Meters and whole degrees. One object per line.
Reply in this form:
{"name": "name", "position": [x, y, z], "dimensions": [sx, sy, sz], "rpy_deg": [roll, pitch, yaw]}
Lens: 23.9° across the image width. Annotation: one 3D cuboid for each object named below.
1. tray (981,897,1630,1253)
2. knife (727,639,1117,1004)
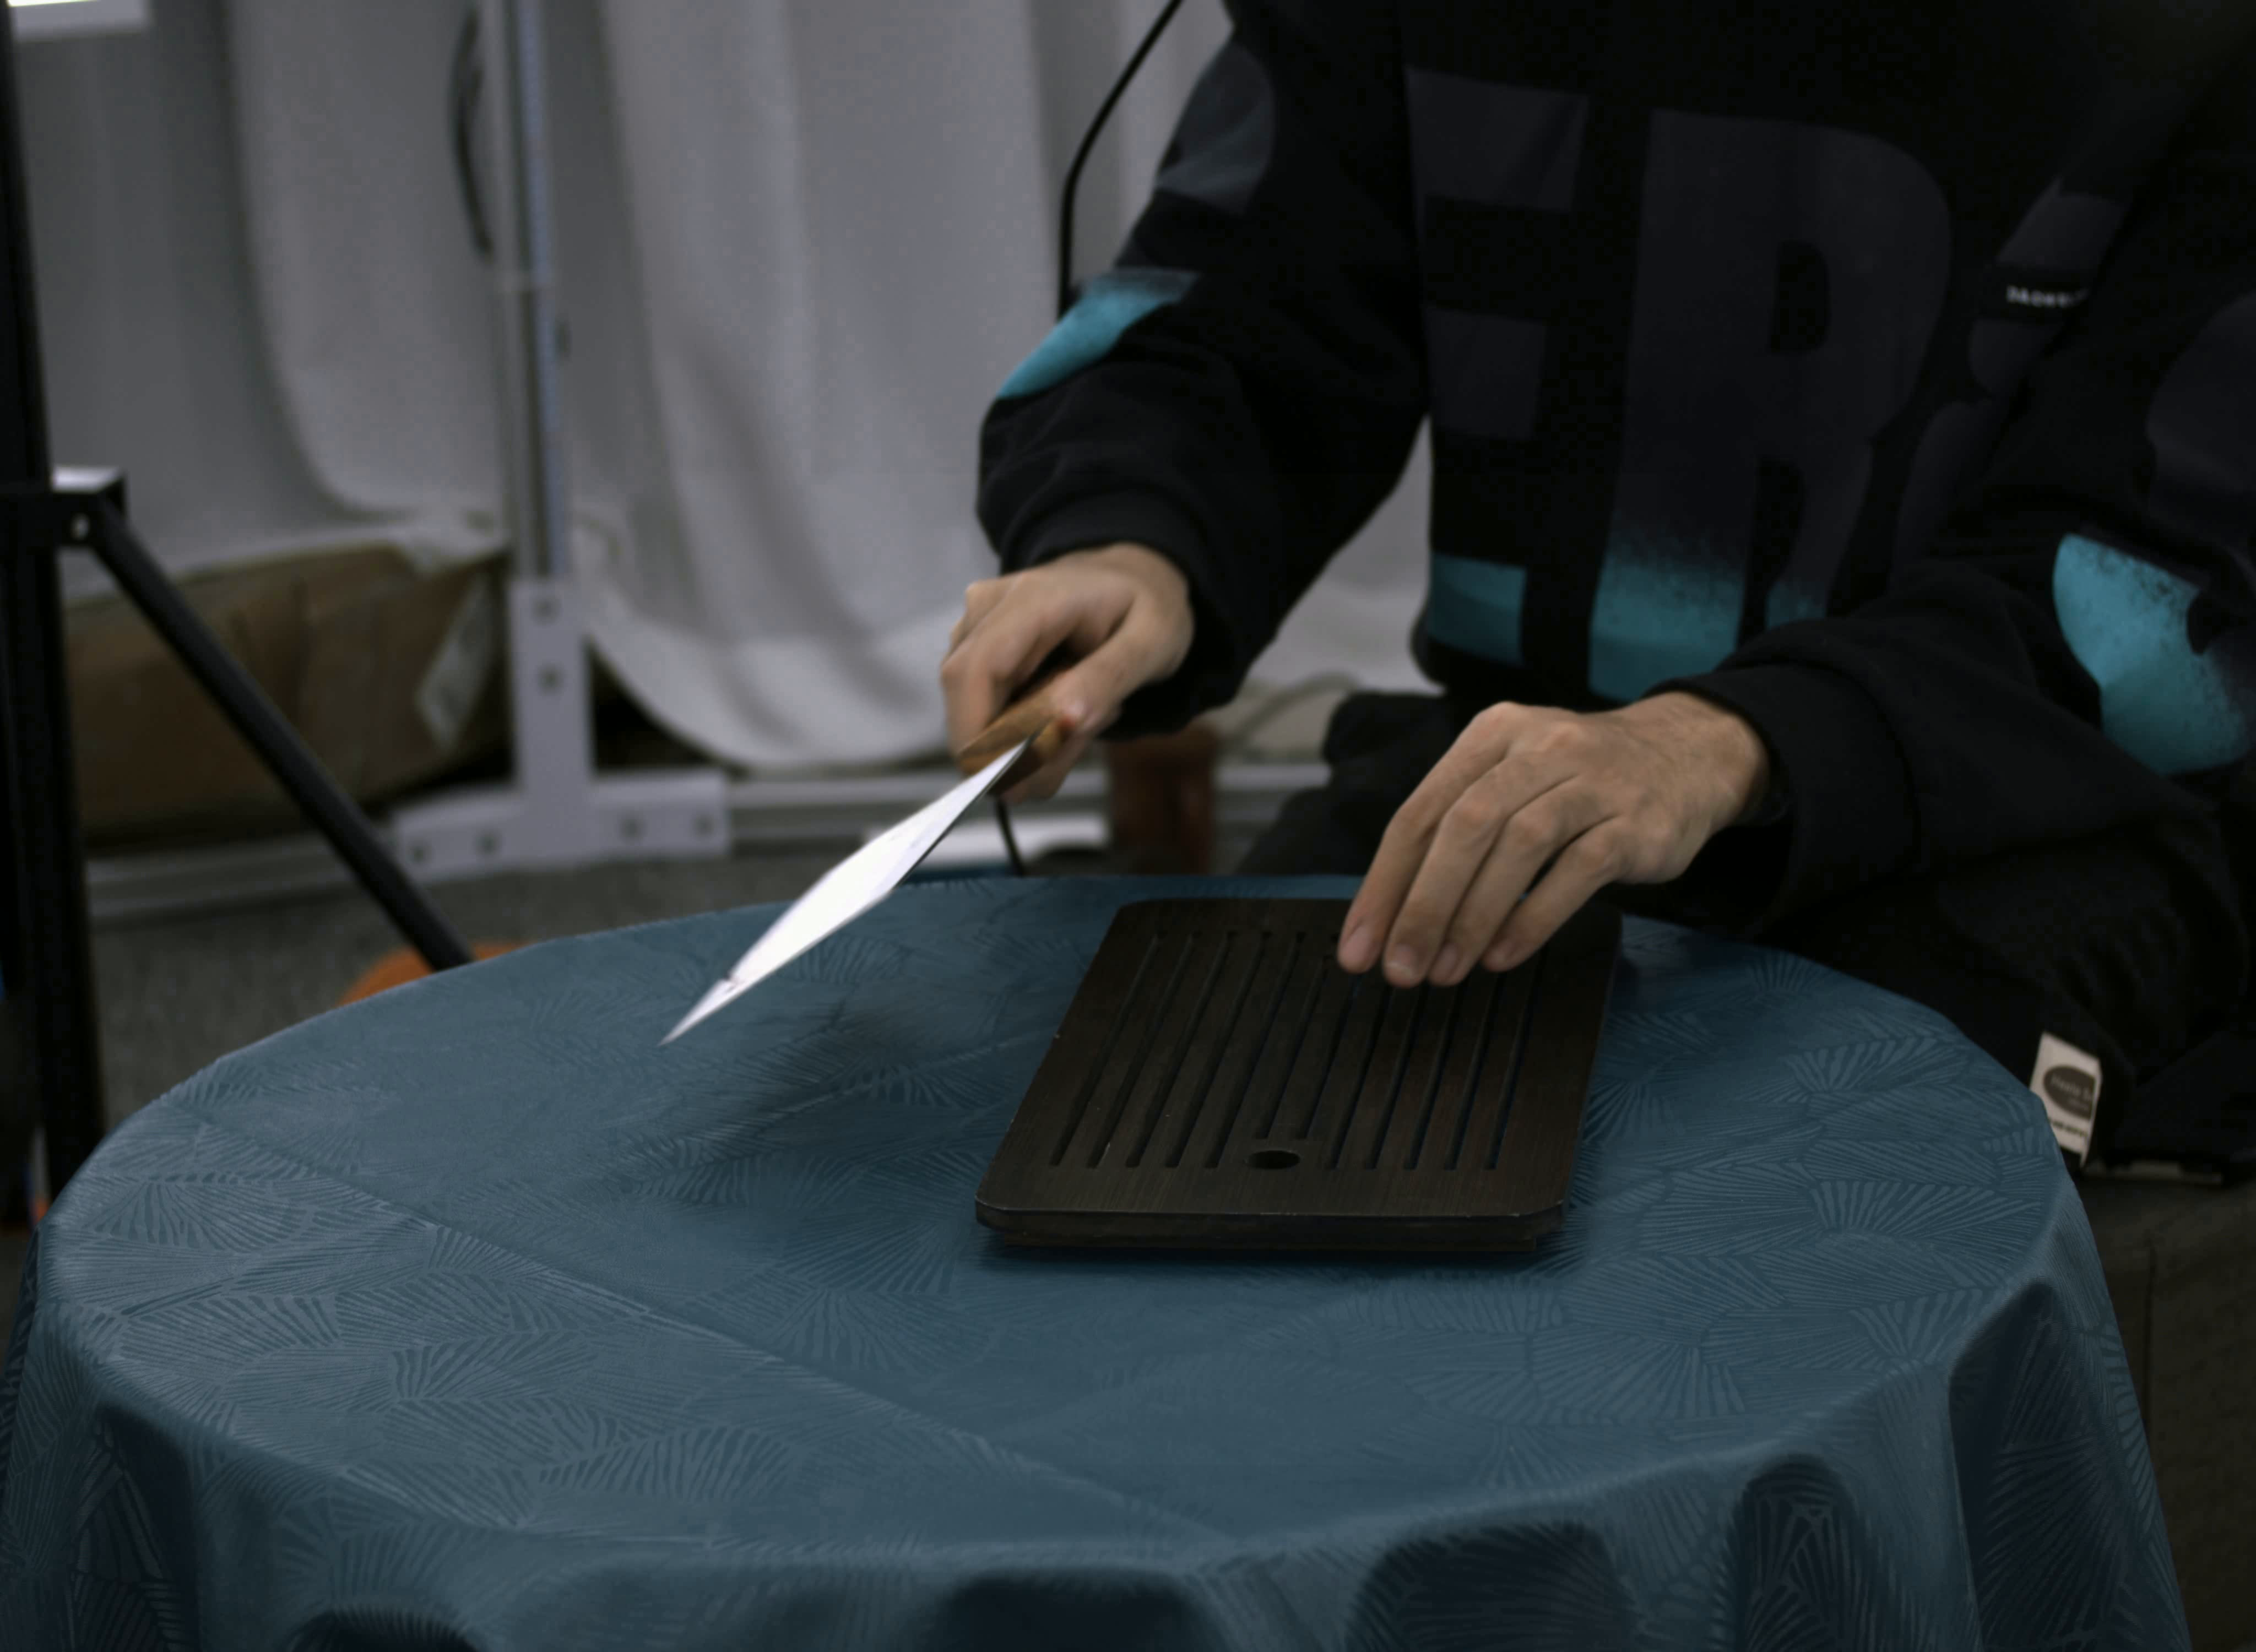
{"name": "tray", "position": [0.063, 0.074, 1.633], "dimensions": [0.171, 0.018, 0.305], "rpy_deg": [0, 16, 10]}
{"name": "knife", "position": [-0.066, -0.001, 1.706], "dimensions": [0.093, 0.021, 0.304], "rpy_deg": [-37, 5, 19]}
